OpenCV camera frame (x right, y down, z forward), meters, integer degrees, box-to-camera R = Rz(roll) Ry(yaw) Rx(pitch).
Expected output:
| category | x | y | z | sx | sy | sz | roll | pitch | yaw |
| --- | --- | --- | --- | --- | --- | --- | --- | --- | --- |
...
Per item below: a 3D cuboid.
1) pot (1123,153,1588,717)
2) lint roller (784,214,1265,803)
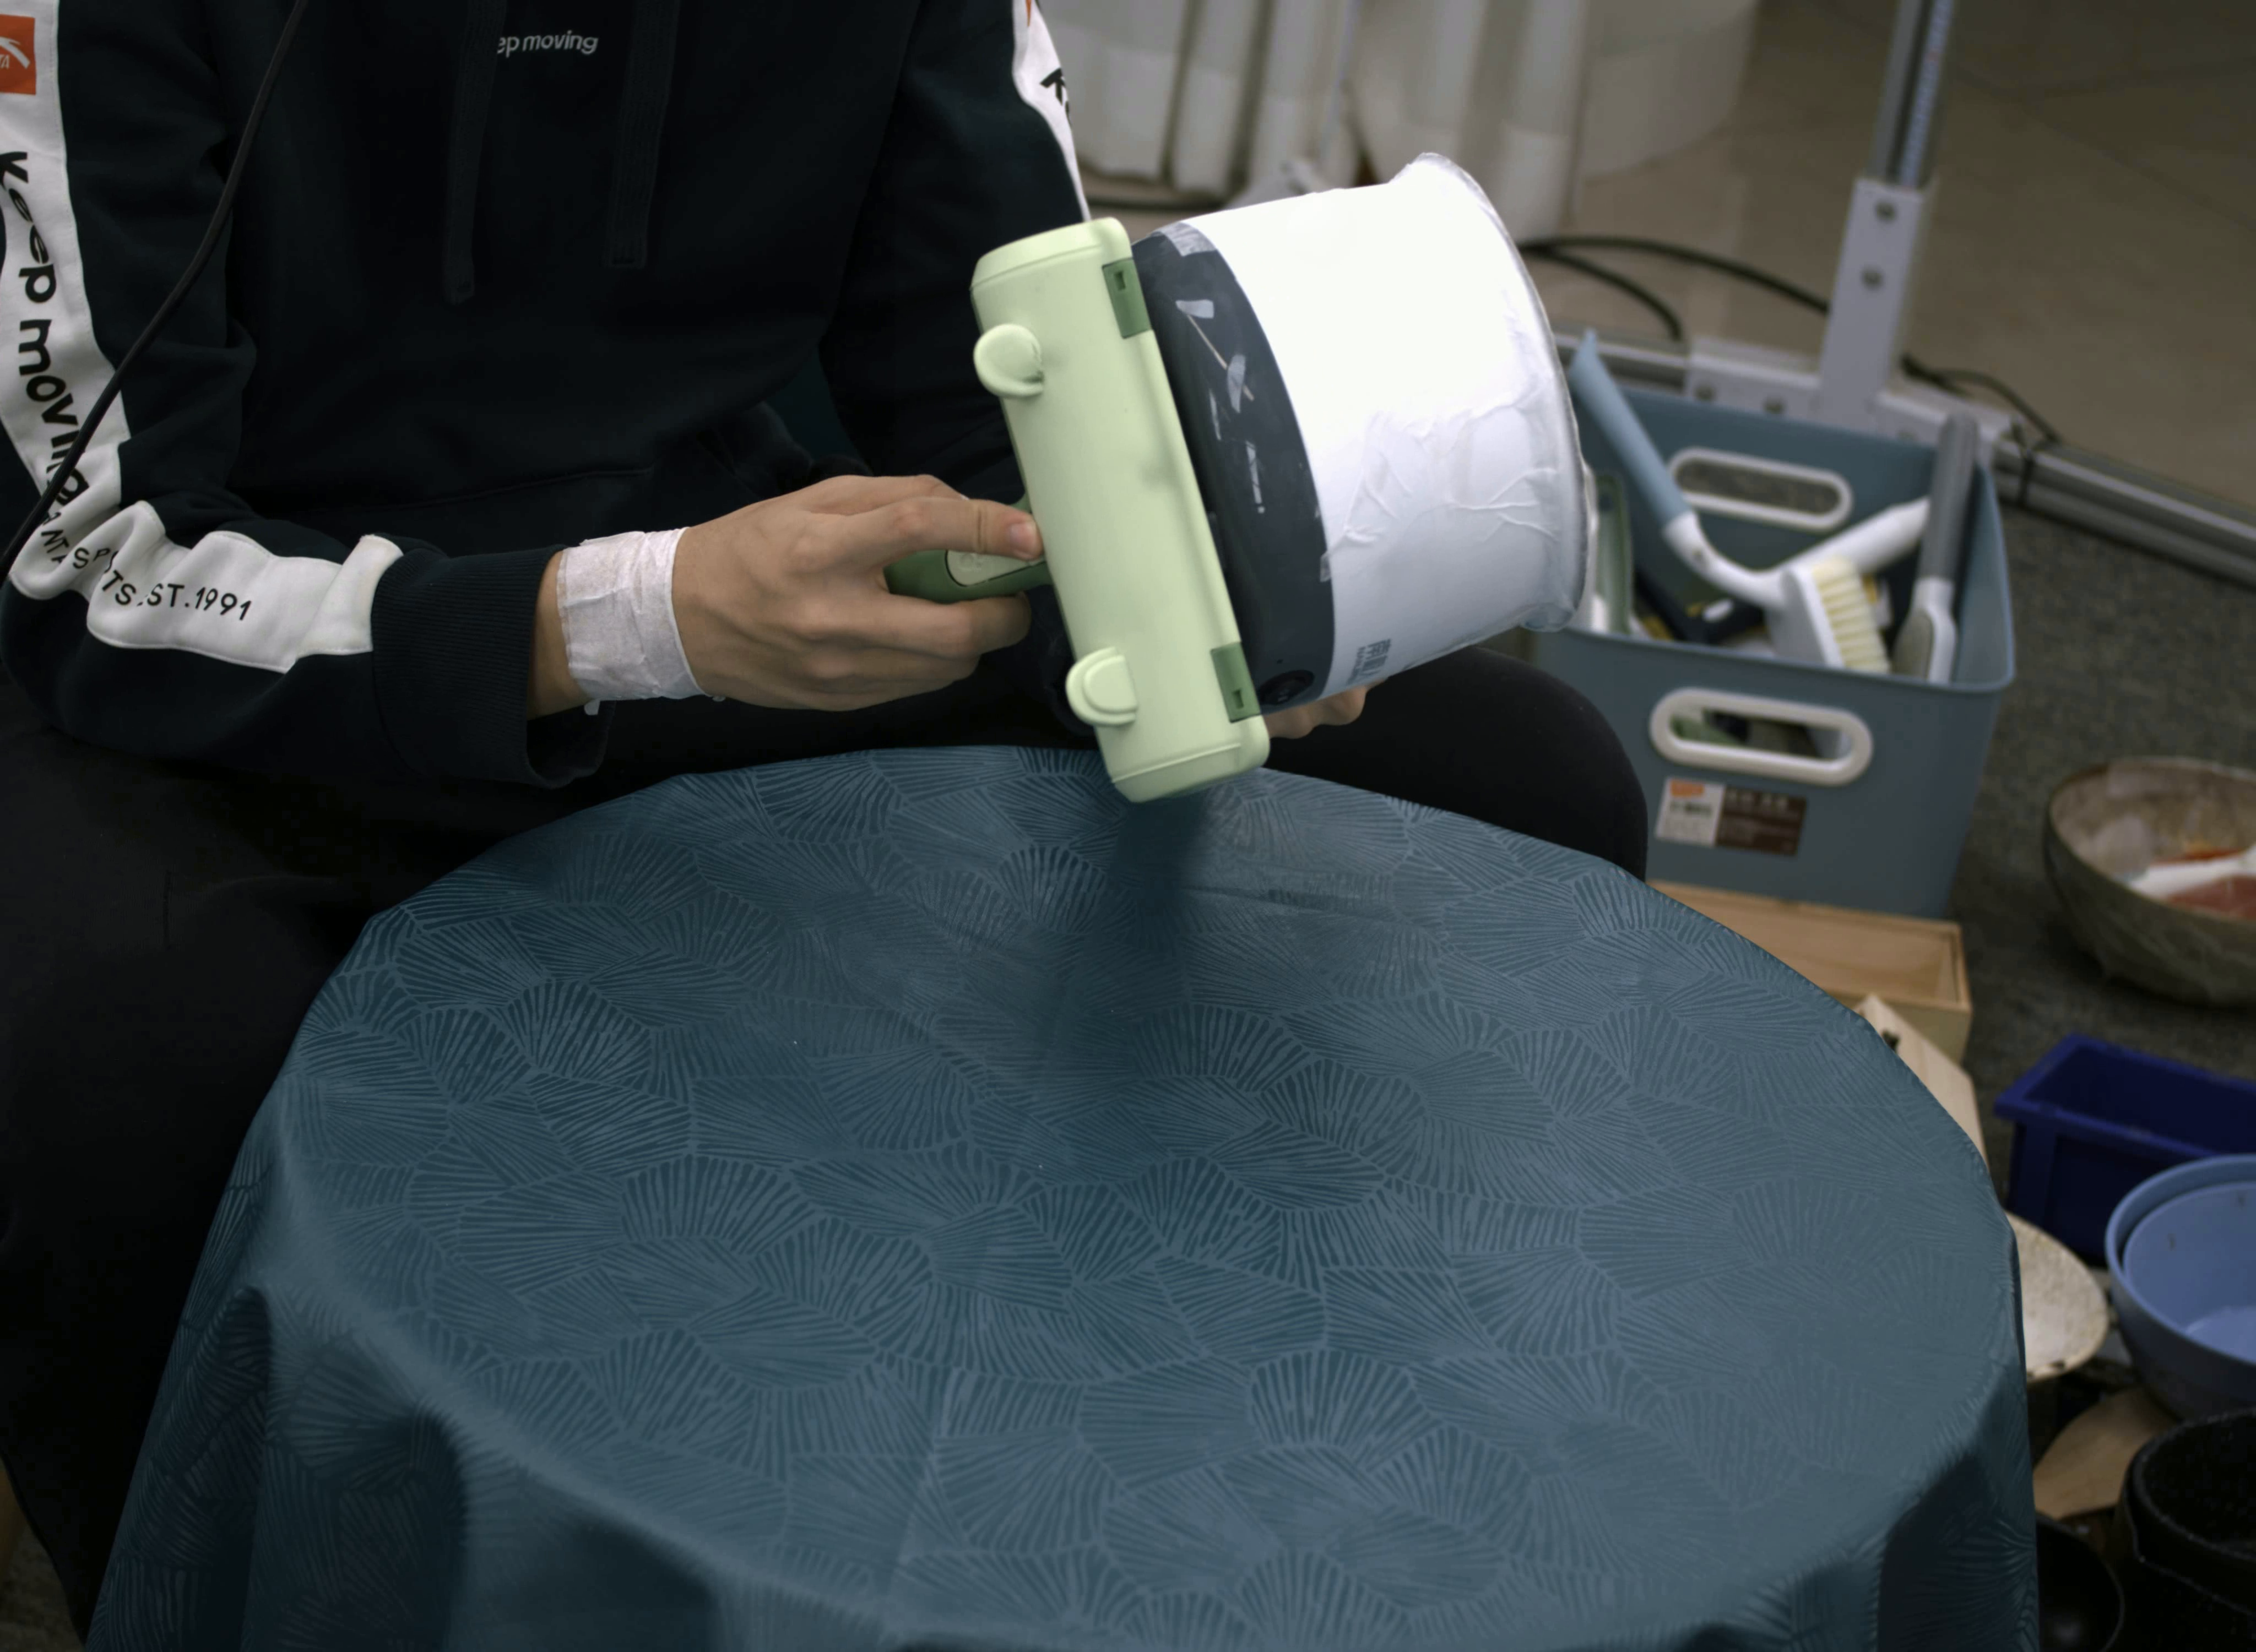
| category | x | y | z | sx | sy | sz | roll | pitch | yaw |
| --- | --- | --- | --- | --- | --- | --- | --- | --- | --- |
| pot | 0.066 | -0.125 | 1.915 | 0.136 | 0.233 | 0.180 | -16 | 68 | -12 |
| lint roller | -0.056 | -0.093 | 1.836 | 0.183 | 0.199 | 0.082 | -17 | -2 | 27 |
